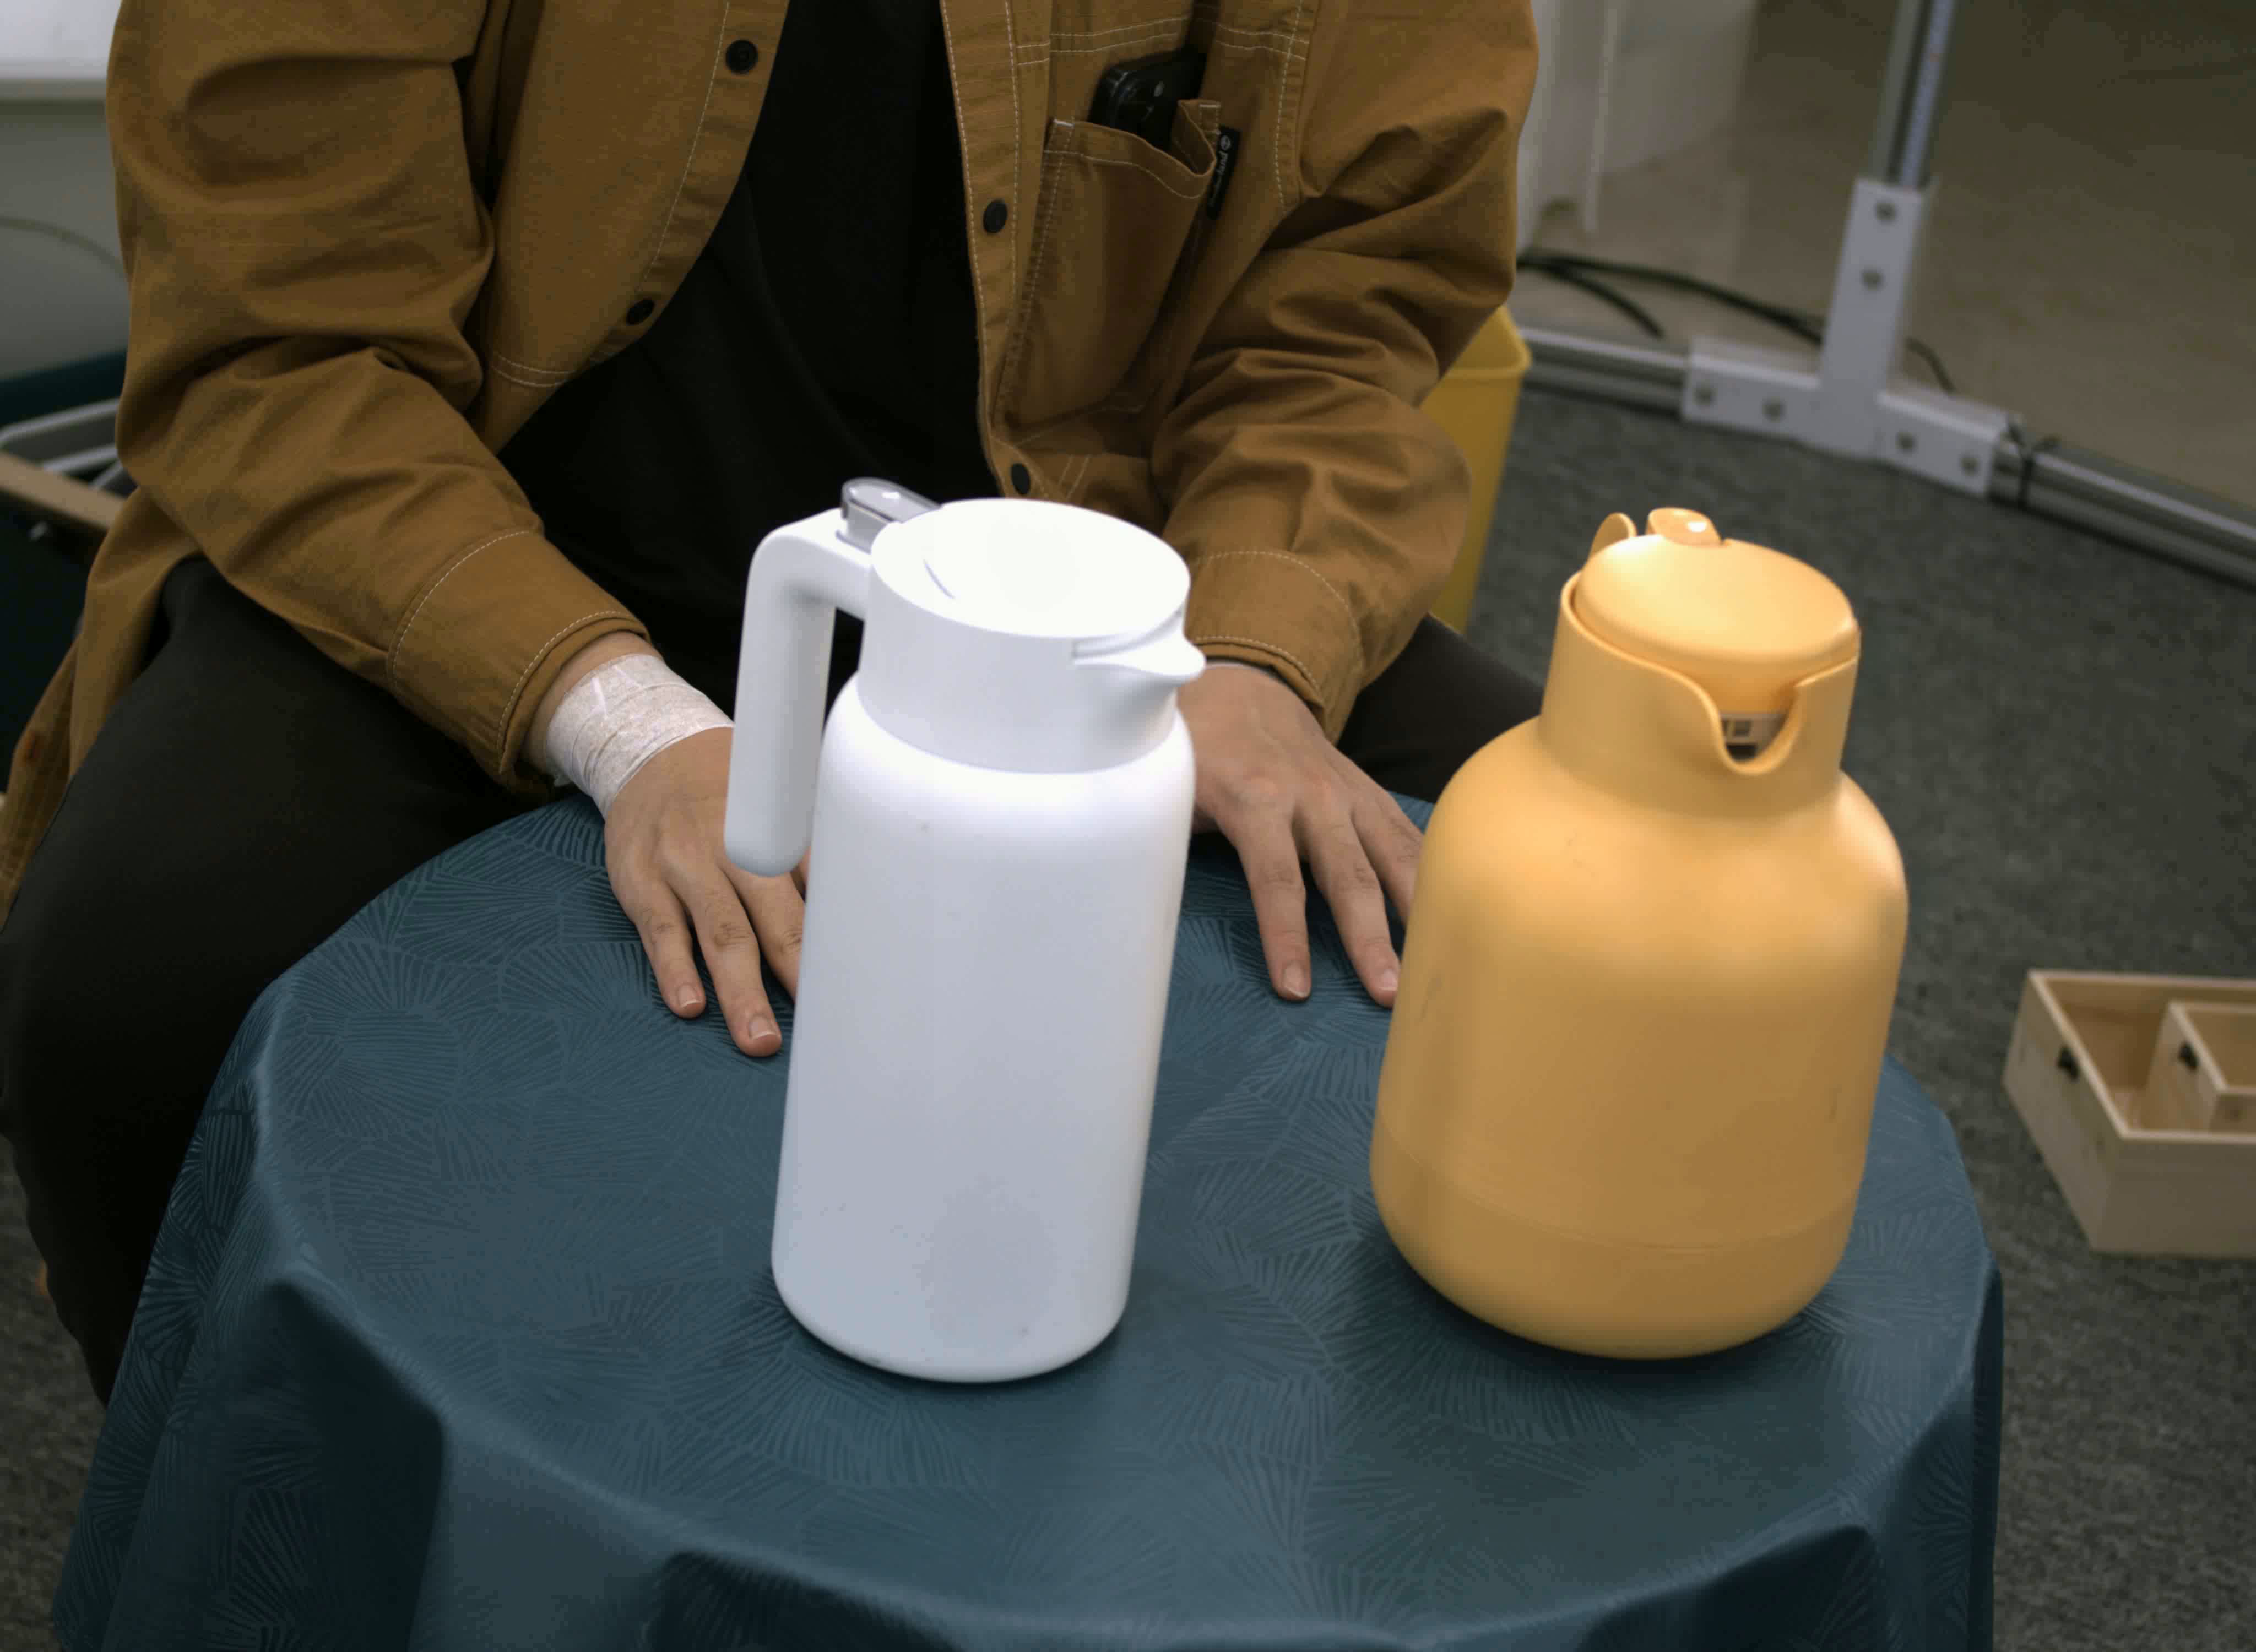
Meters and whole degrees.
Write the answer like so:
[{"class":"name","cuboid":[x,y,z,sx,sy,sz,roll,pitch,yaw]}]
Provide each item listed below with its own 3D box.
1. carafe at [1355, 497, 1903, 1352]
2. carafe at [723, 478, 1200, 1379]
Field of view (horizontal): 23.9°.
[{"class":"carafe","cuboid":[0.170,0.023,1.751,0.163,0.259,0.204,7,28,-7]},{"class":"carafe","cuboid":[-0.060,0.029,1.684,0.174,0.268,0.123,26,34,33]}]
